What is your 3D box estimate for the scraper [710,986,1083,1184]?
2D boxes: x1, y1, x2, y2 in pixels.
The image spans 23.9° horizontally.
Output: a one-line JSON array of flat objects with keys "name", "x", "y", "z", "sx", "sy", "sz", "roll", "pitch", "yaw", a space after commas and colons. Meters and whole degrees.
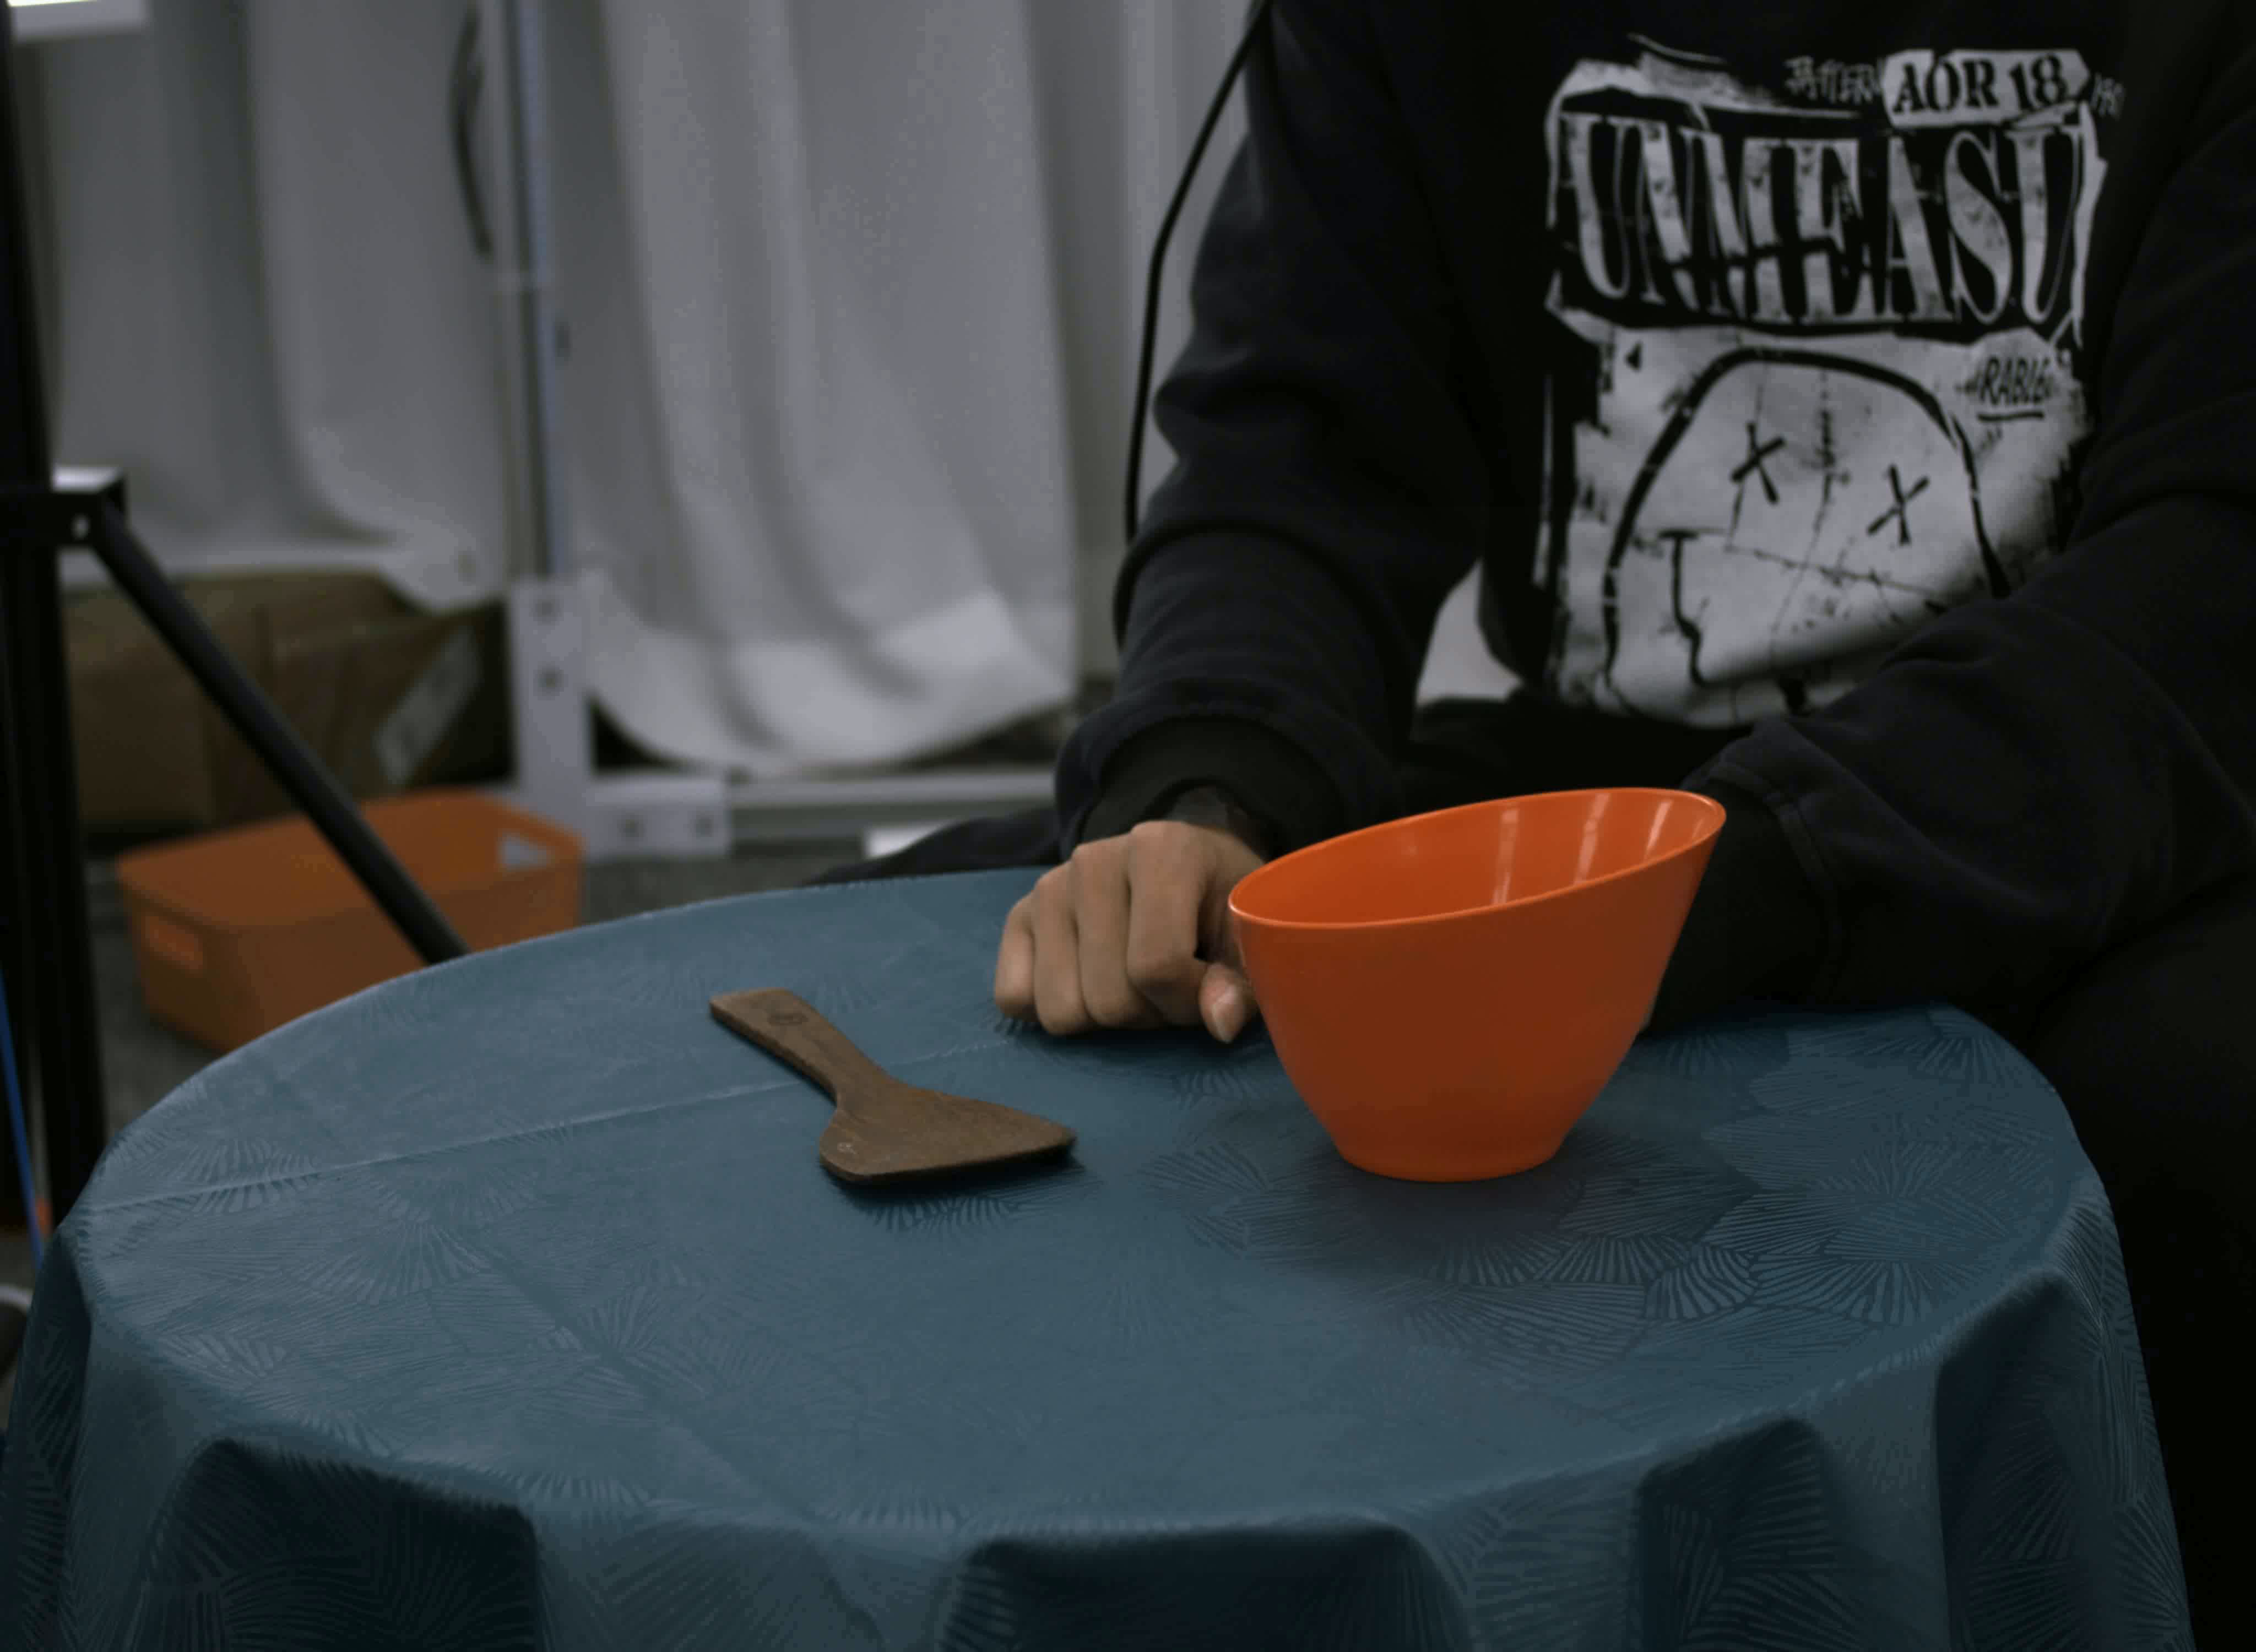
[{"name": "scraper", "x": -0.085, "y": 0.079, "z": 1.659, "sx": 0.074, "sy": 0.011, "sz": 0.215, "roll": -8, "pitch": 16, "yaw": -22}]

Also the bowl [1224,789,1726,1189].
[{"name": "bowl", "x": 0.102, "y": 0.049, "z": 1.565, "sx": 0.147, "sy": 0.104, "sz": 0.149, "roll": -3, "pitch": 16, "yaw": -1}]
